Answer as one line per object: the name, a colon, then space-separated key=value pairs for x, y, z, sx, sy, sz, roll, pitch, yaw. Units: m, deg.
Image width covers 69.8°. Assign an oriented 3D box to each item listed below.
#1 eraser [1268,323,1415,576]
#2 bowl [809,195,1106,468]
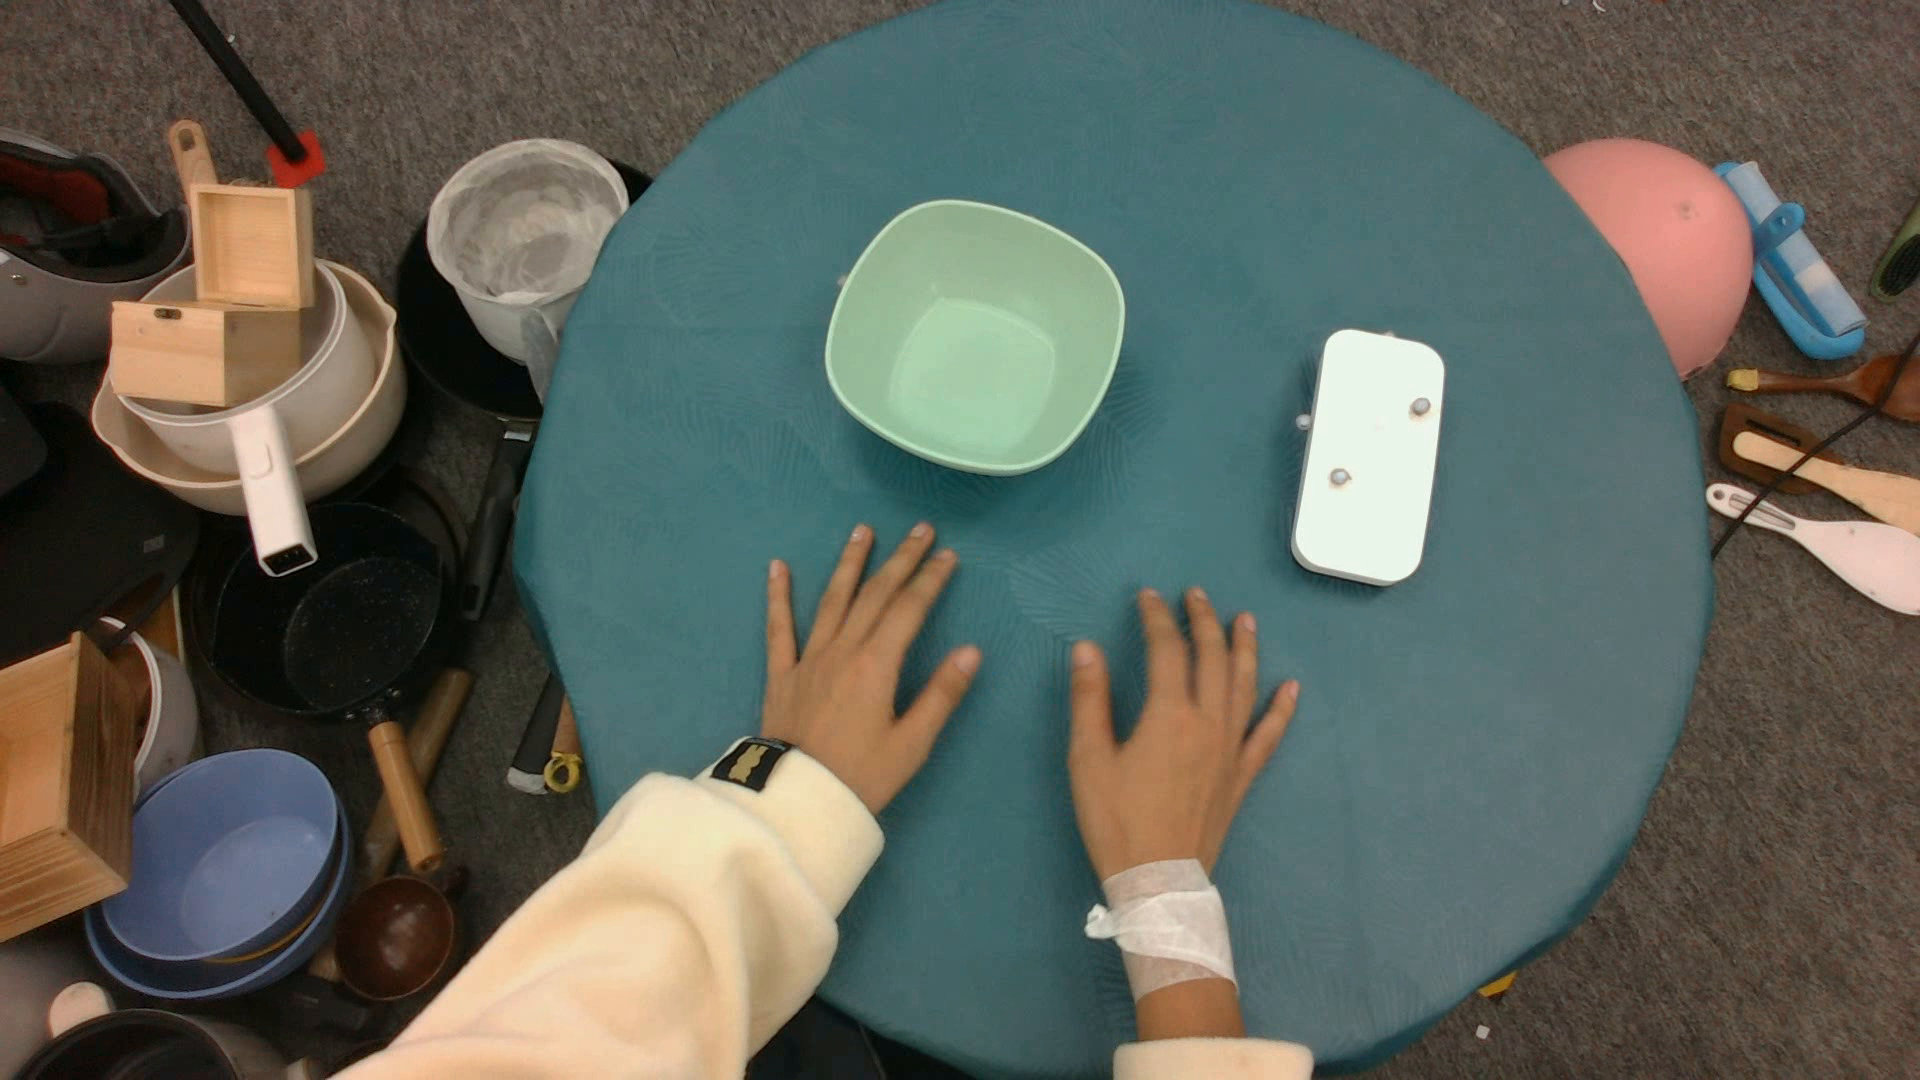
eraser: x=0.192 y=-0.048 z=0.697 sx=0.063 sy=0.034 sz=0.132 roll=13 pitch=70 yaw=2
bowl: x=-0.001 y=-0.097 z=0.696 sx=0.151 sy=0.058 sz=0.152 roll=0 pitch=73 yaw=0
